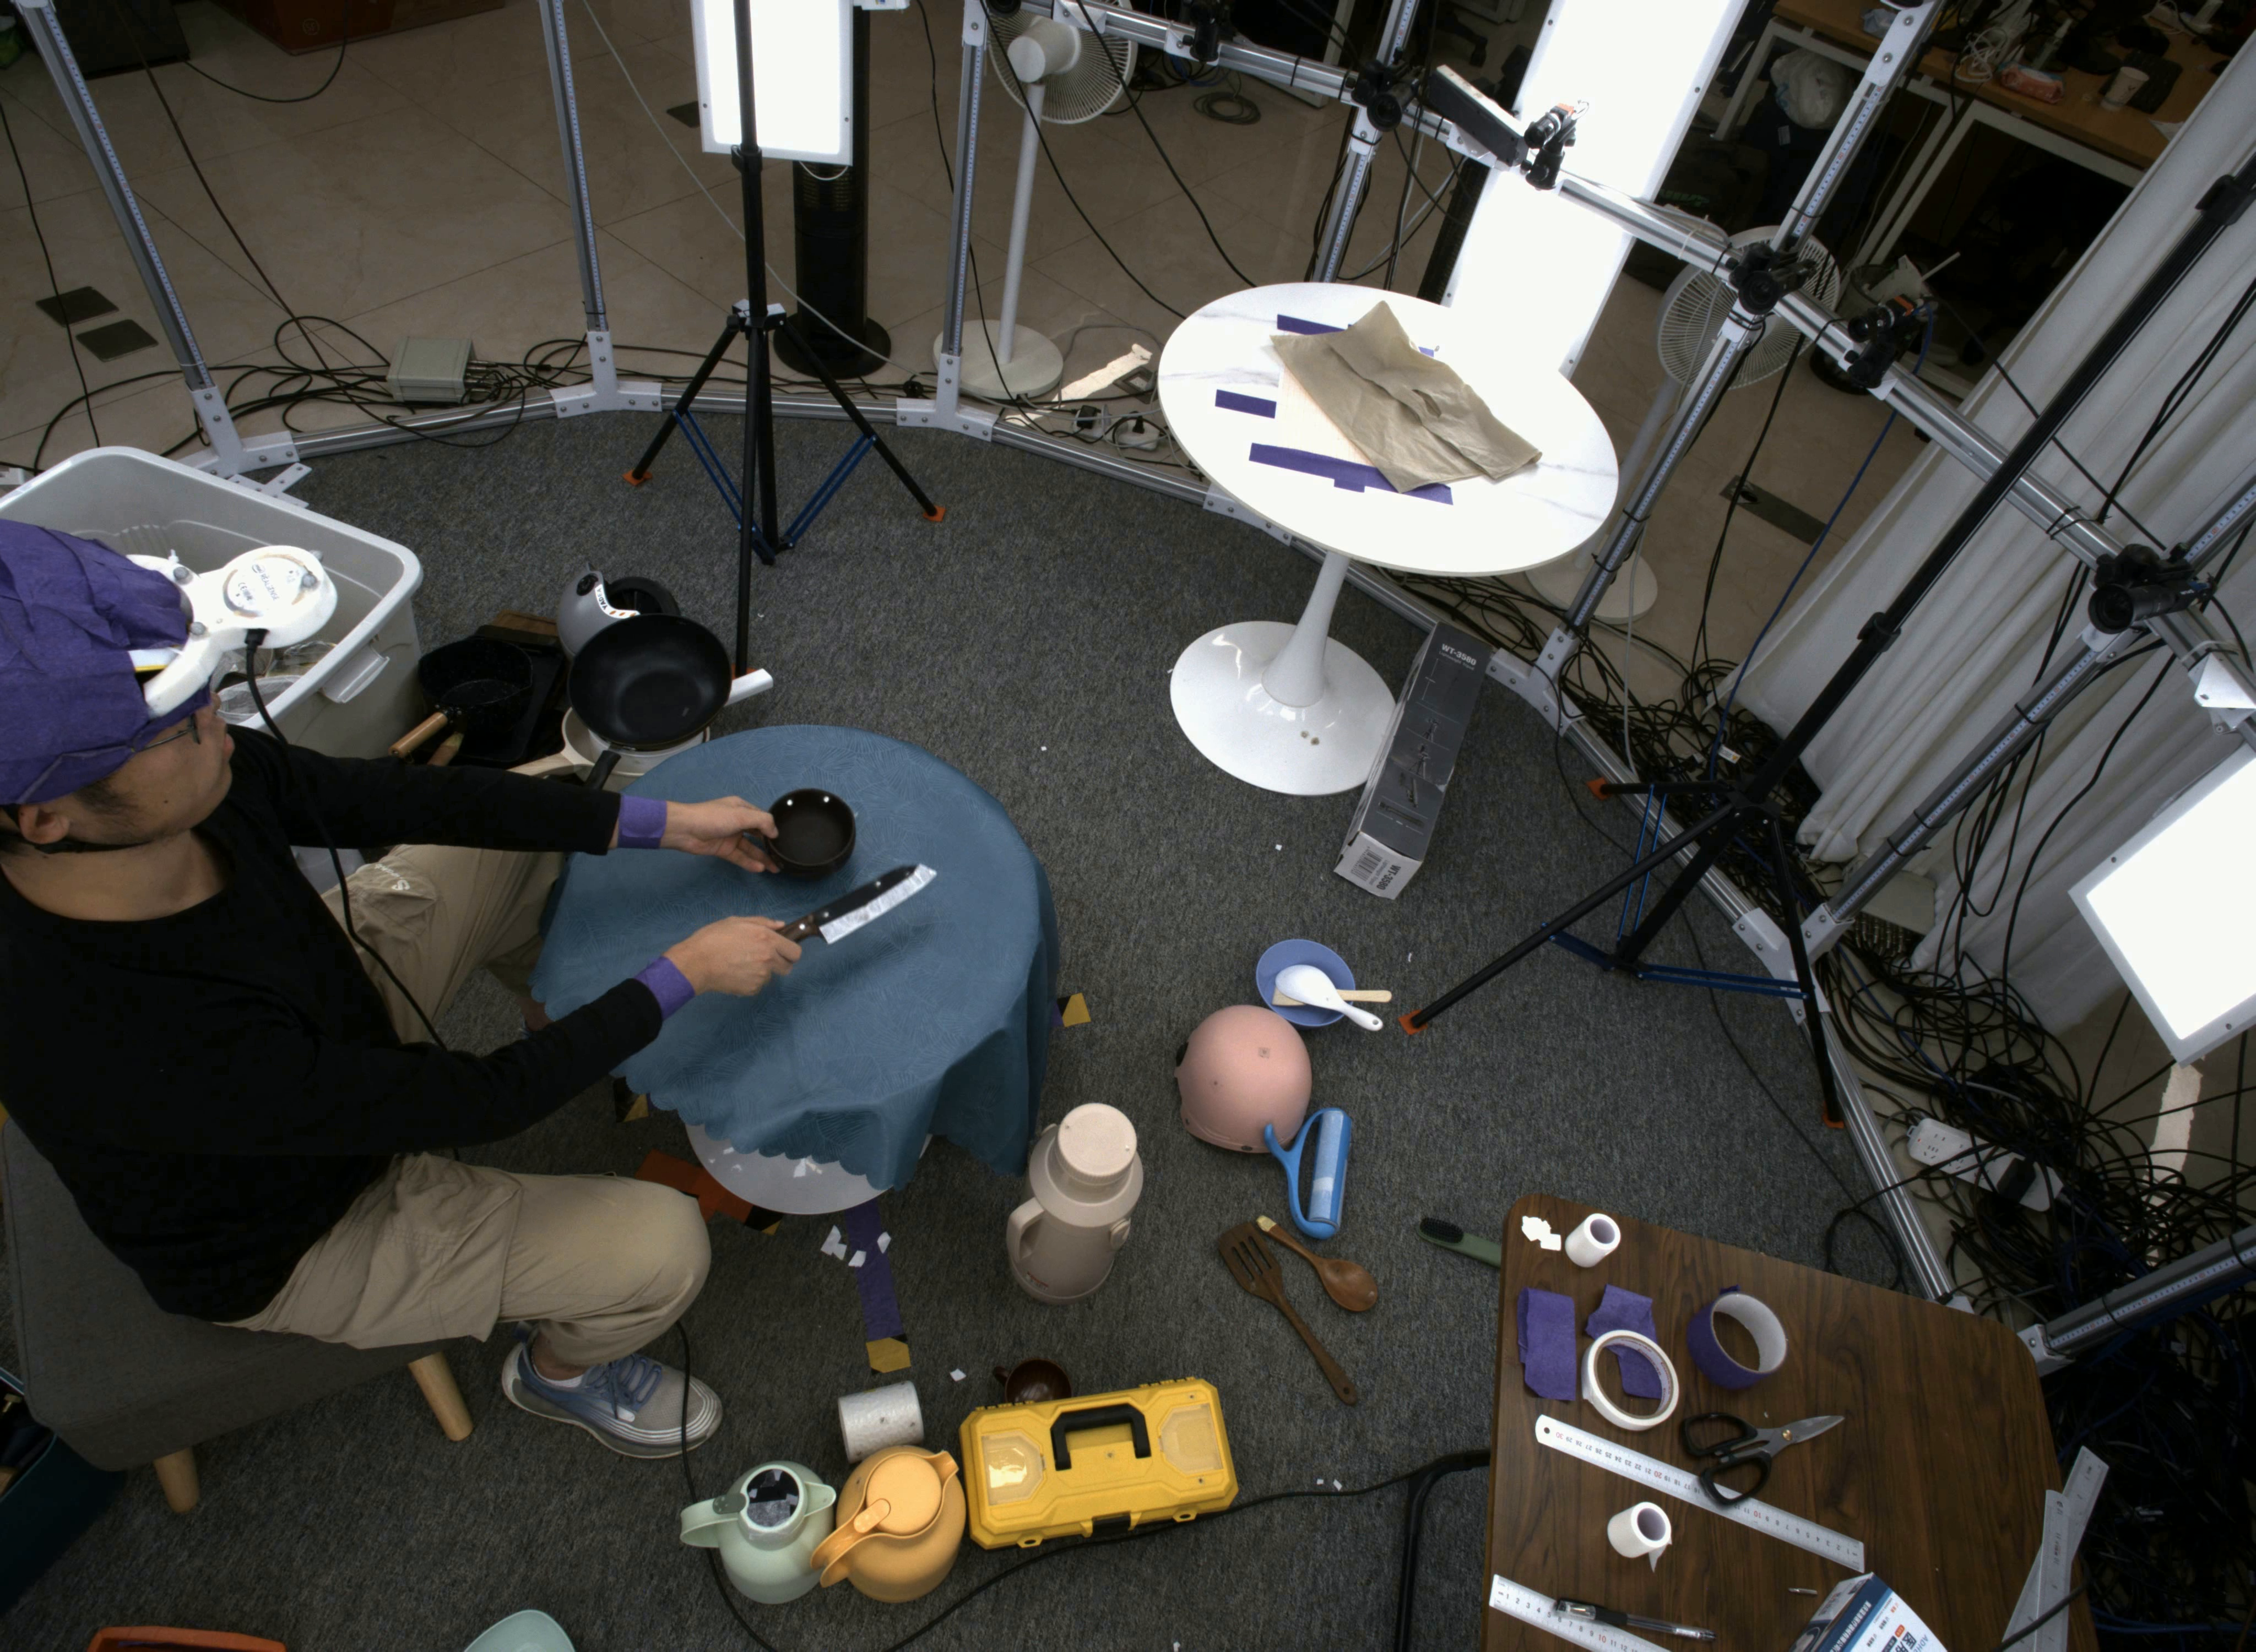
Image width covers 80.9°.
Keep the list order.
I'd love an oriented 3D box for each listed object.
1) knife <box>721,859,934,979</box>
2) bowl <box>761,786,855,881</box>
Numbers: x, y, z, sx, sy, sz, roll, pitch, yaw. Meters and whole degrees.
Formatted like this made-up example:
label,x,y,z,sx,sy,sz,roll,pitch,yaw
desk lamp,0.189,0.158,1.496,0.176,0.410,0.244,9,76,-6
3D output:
label,x,y,z,sx,sy,sz,roll,pitch,yaw
knife,-0.357,0.107,1.565,0.290,0.020,0.050,-28,85,-30
bowl,-0.410,0.016,1.664,0.118,0.071,0.116,7,61,-10
